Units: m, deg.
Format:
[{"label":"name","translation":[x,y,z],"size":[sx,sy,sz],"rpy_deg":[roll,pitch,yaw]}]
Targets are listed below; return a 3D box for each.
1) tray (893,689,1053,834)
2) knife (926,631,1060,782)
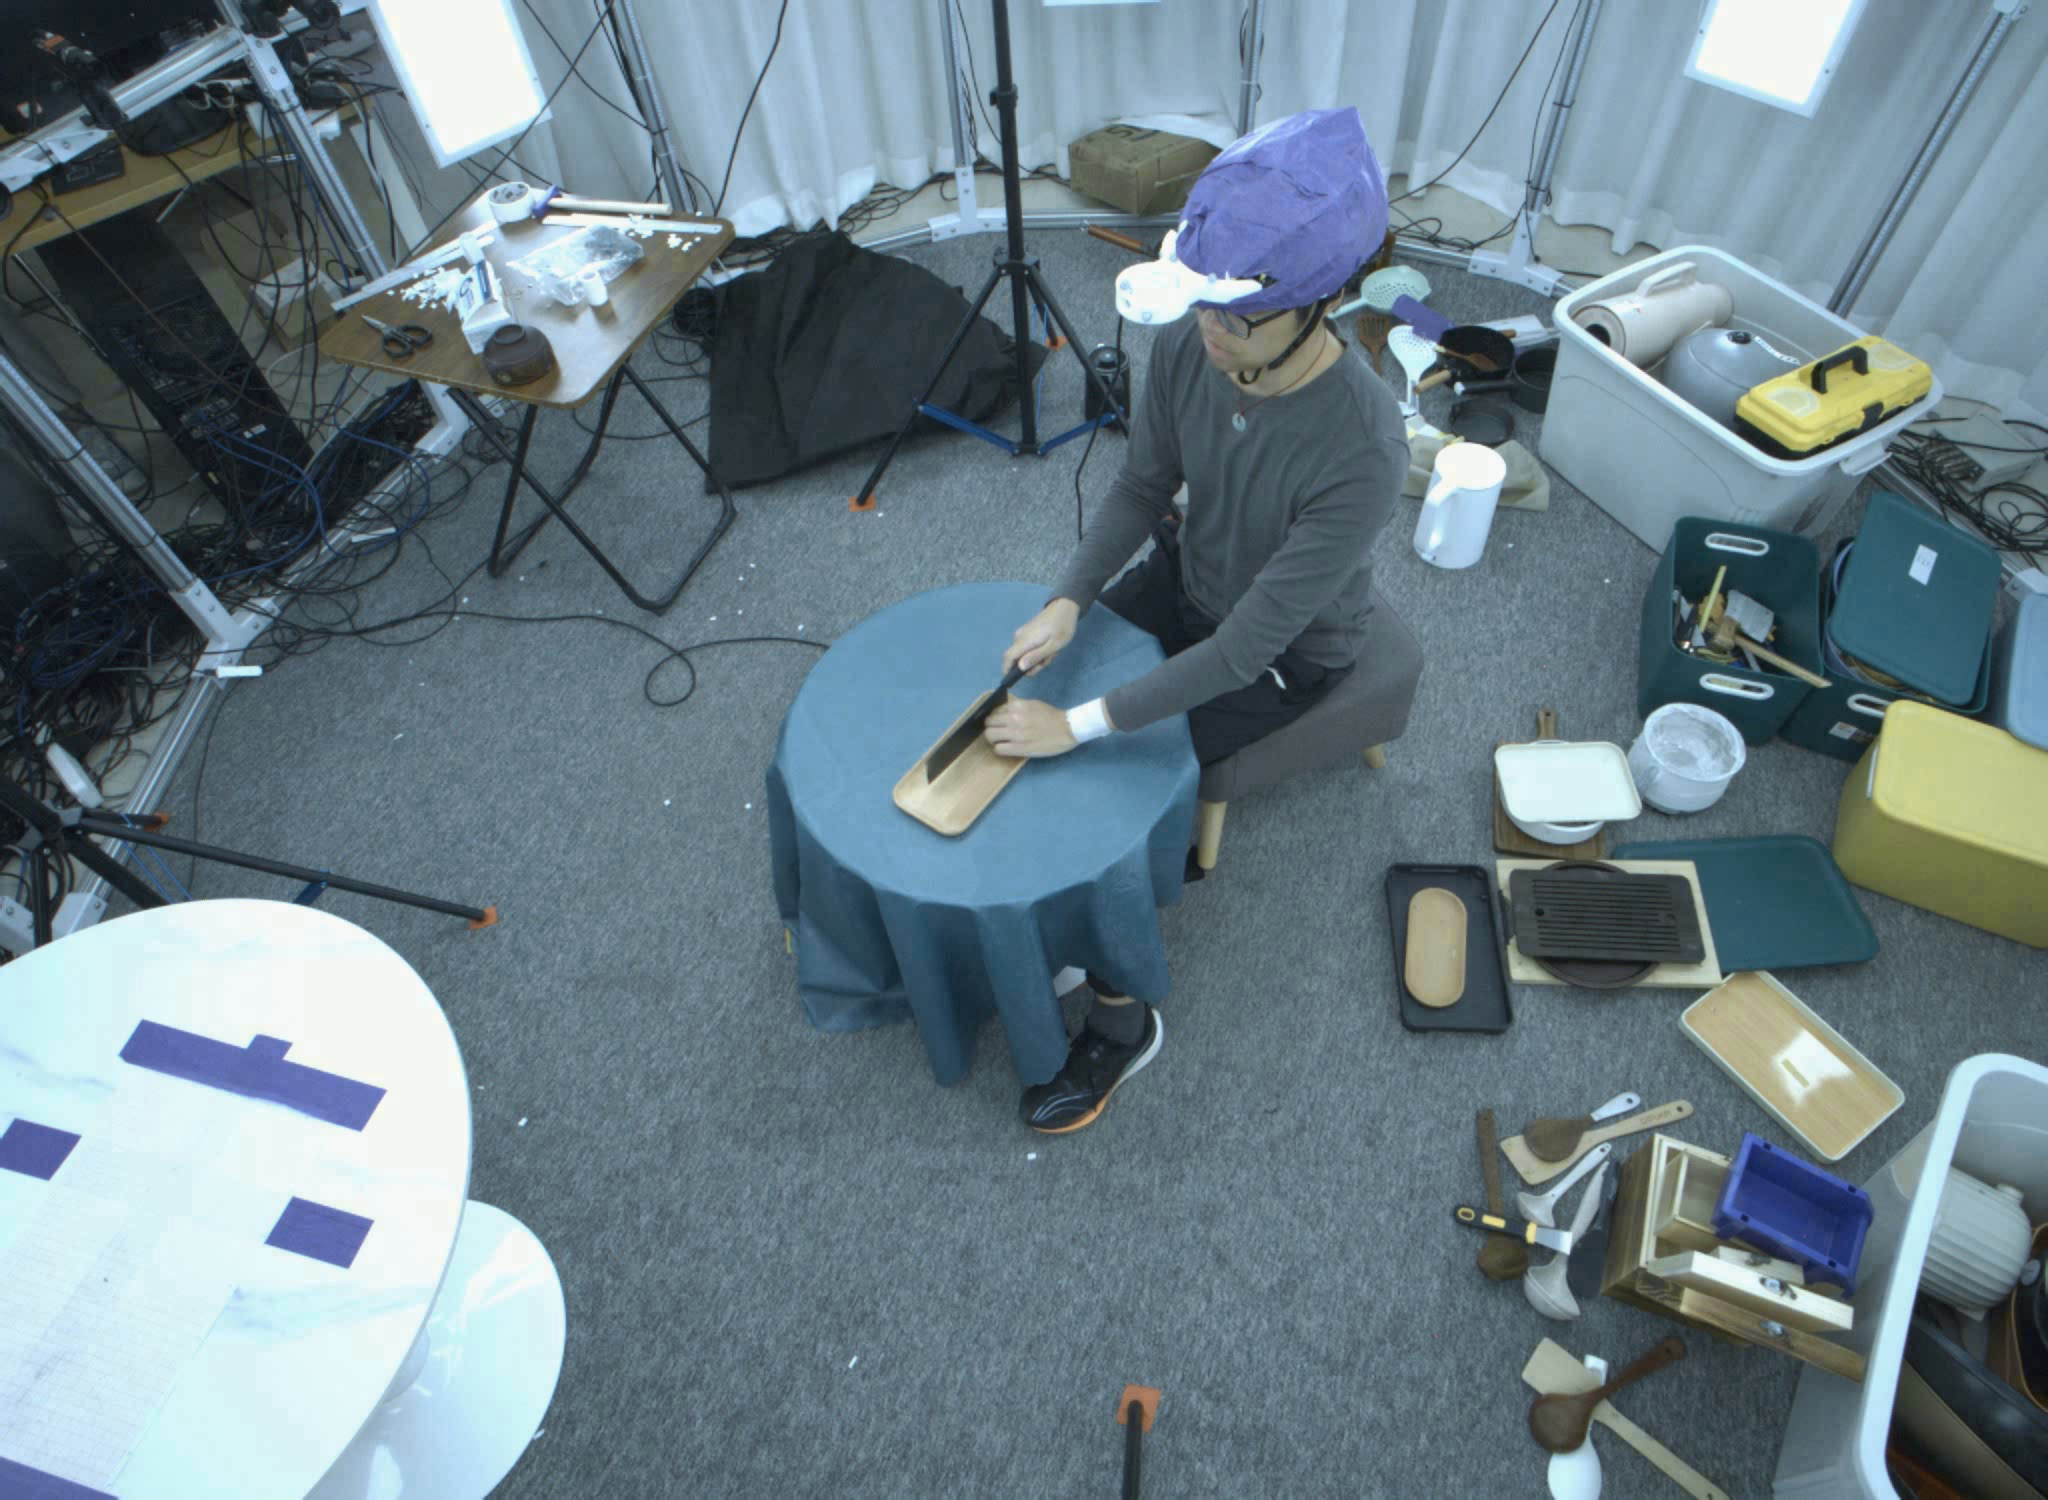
[{"label":"tray","translation":[-0.071,0.014,1.777],"size":[0.128,0.023,0.252],"rpy_deg":[32,60,19]},{"label":"knife","translation":[-0.045,-0.068,1.786],"size":[0.020,0.082,0.303],"rpy_deg":[33,66,20]}]
